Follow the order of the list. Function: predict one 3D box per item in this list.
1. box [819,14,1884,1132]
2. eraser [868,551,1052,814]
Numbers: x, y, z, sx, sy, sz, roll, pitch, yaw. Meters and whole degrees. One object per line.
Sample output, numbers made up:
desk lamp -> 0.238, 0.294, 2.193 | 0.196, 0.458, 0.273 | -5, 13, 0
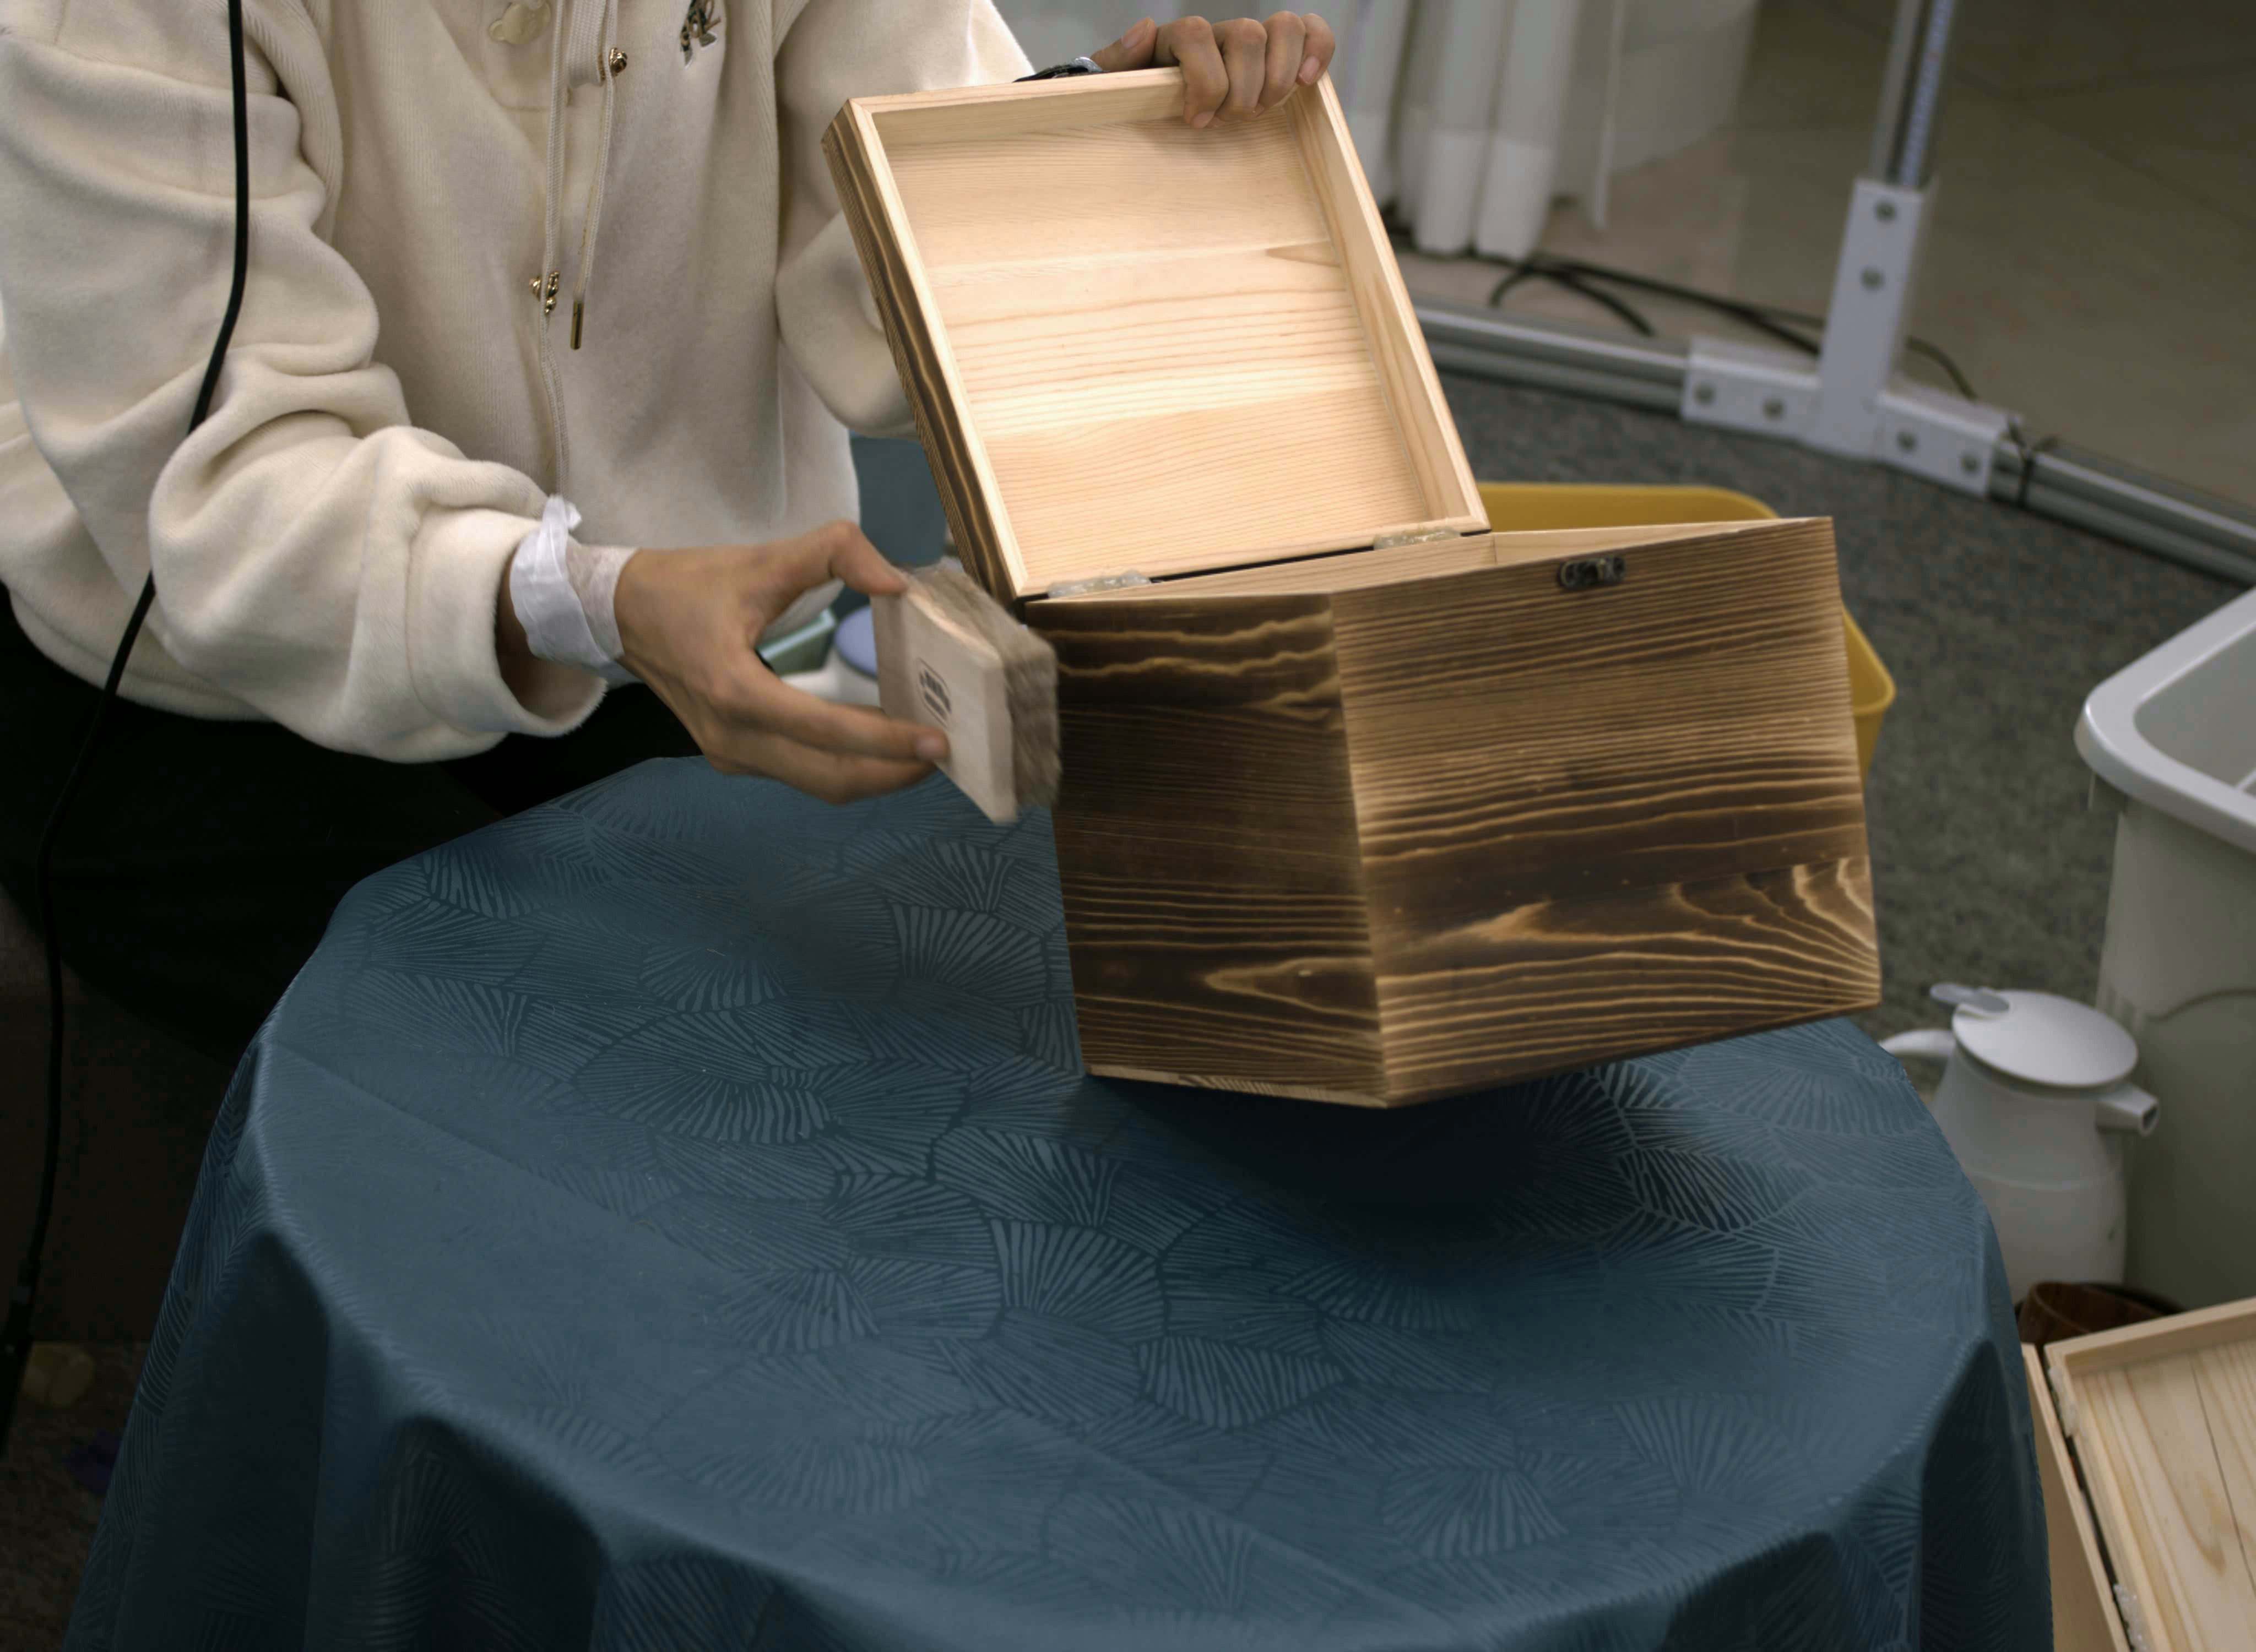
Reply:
box -> 0.070, -0.106, 1.860 | 0.207, 0.376, 0.324 | -10, 6, -29
eraser -> -0.057, -0.052, 1.831 | 0.029, 0.057, 0.140 | -9, 19, -14
